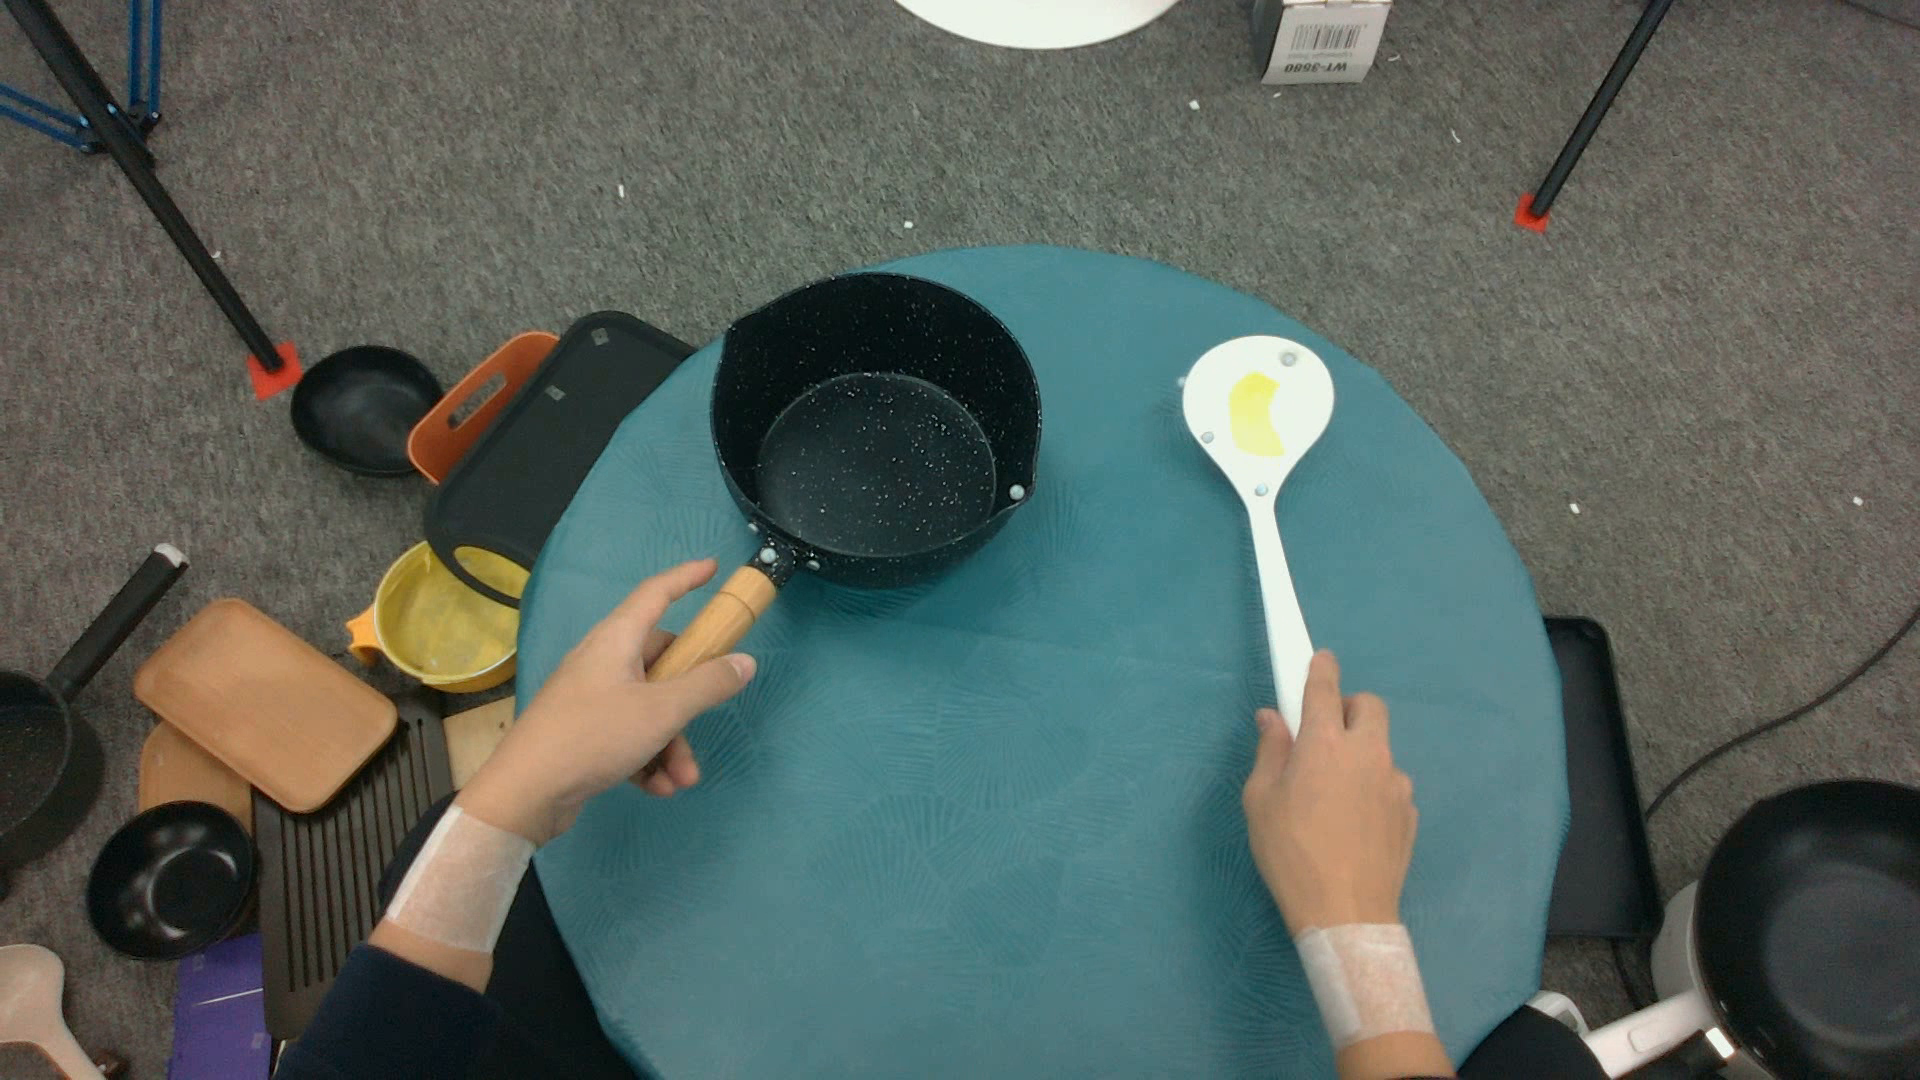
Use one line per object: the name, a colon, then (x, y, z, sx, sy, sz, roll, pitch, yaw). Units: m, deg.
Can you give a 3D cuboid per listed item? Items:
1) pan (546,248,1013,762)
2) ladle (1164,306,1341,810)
pan: (-0.103, -0.011, 0.753, 0.207, 0.108, 0.344, 28, 64, 7)
ladle: (0.174, 0.001, 0.780, 0.090, 0.069, 0.294, 0, 58, -8)
